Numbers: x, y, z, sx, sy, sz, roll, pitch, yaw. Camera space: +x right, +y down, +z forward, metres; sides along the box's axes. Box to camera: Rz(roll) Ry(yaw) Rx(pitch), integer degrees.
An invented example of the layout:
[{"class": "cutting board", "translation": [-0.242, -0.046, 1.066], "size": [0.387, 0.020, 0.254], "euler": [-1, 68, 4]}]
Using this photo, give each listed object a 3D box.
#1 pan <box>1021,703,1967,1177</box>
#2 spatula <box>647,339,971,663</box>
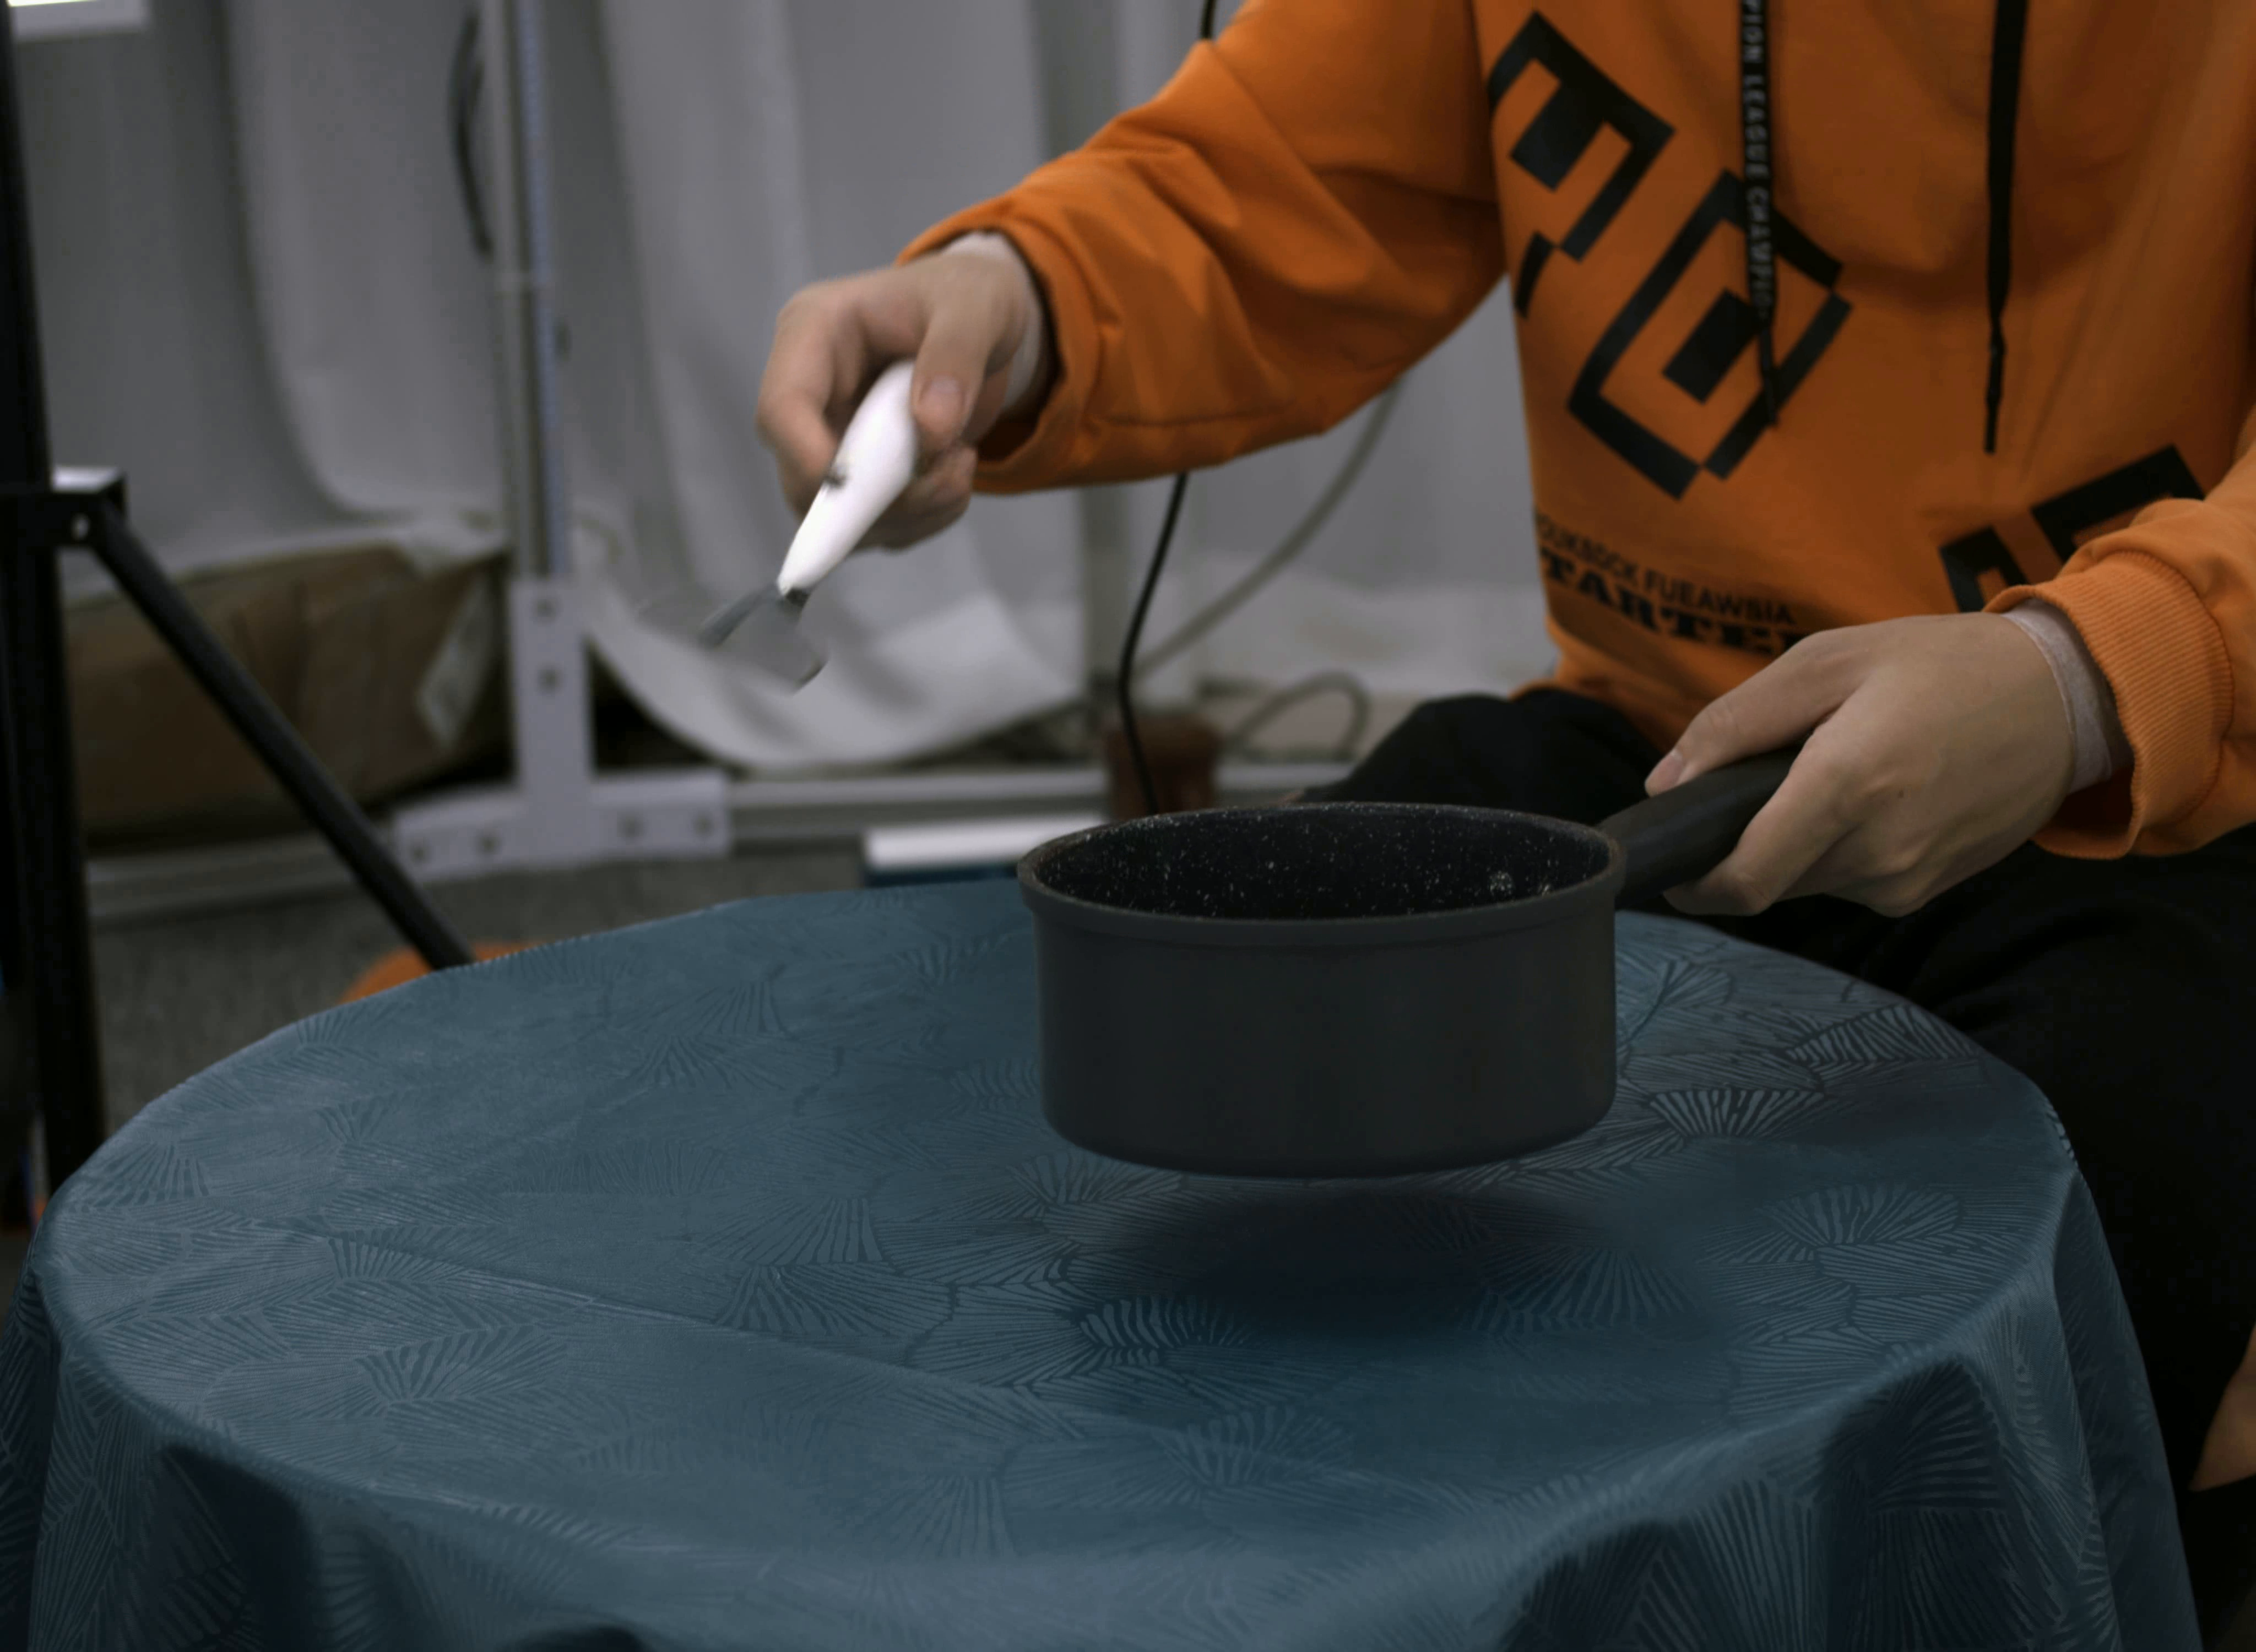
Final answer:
[{"class": "pan", "translation": [0.118, 0.030, 1.533], "size": [0.321, 0.086, 0.176], "euler": [-11, 15, -35]}, {"class": "spatula", "translation": [-0.091, -0.097, 1.635], "size": [0.058, 0.032, 0.287], "euler": [29, 22, -1]}]
